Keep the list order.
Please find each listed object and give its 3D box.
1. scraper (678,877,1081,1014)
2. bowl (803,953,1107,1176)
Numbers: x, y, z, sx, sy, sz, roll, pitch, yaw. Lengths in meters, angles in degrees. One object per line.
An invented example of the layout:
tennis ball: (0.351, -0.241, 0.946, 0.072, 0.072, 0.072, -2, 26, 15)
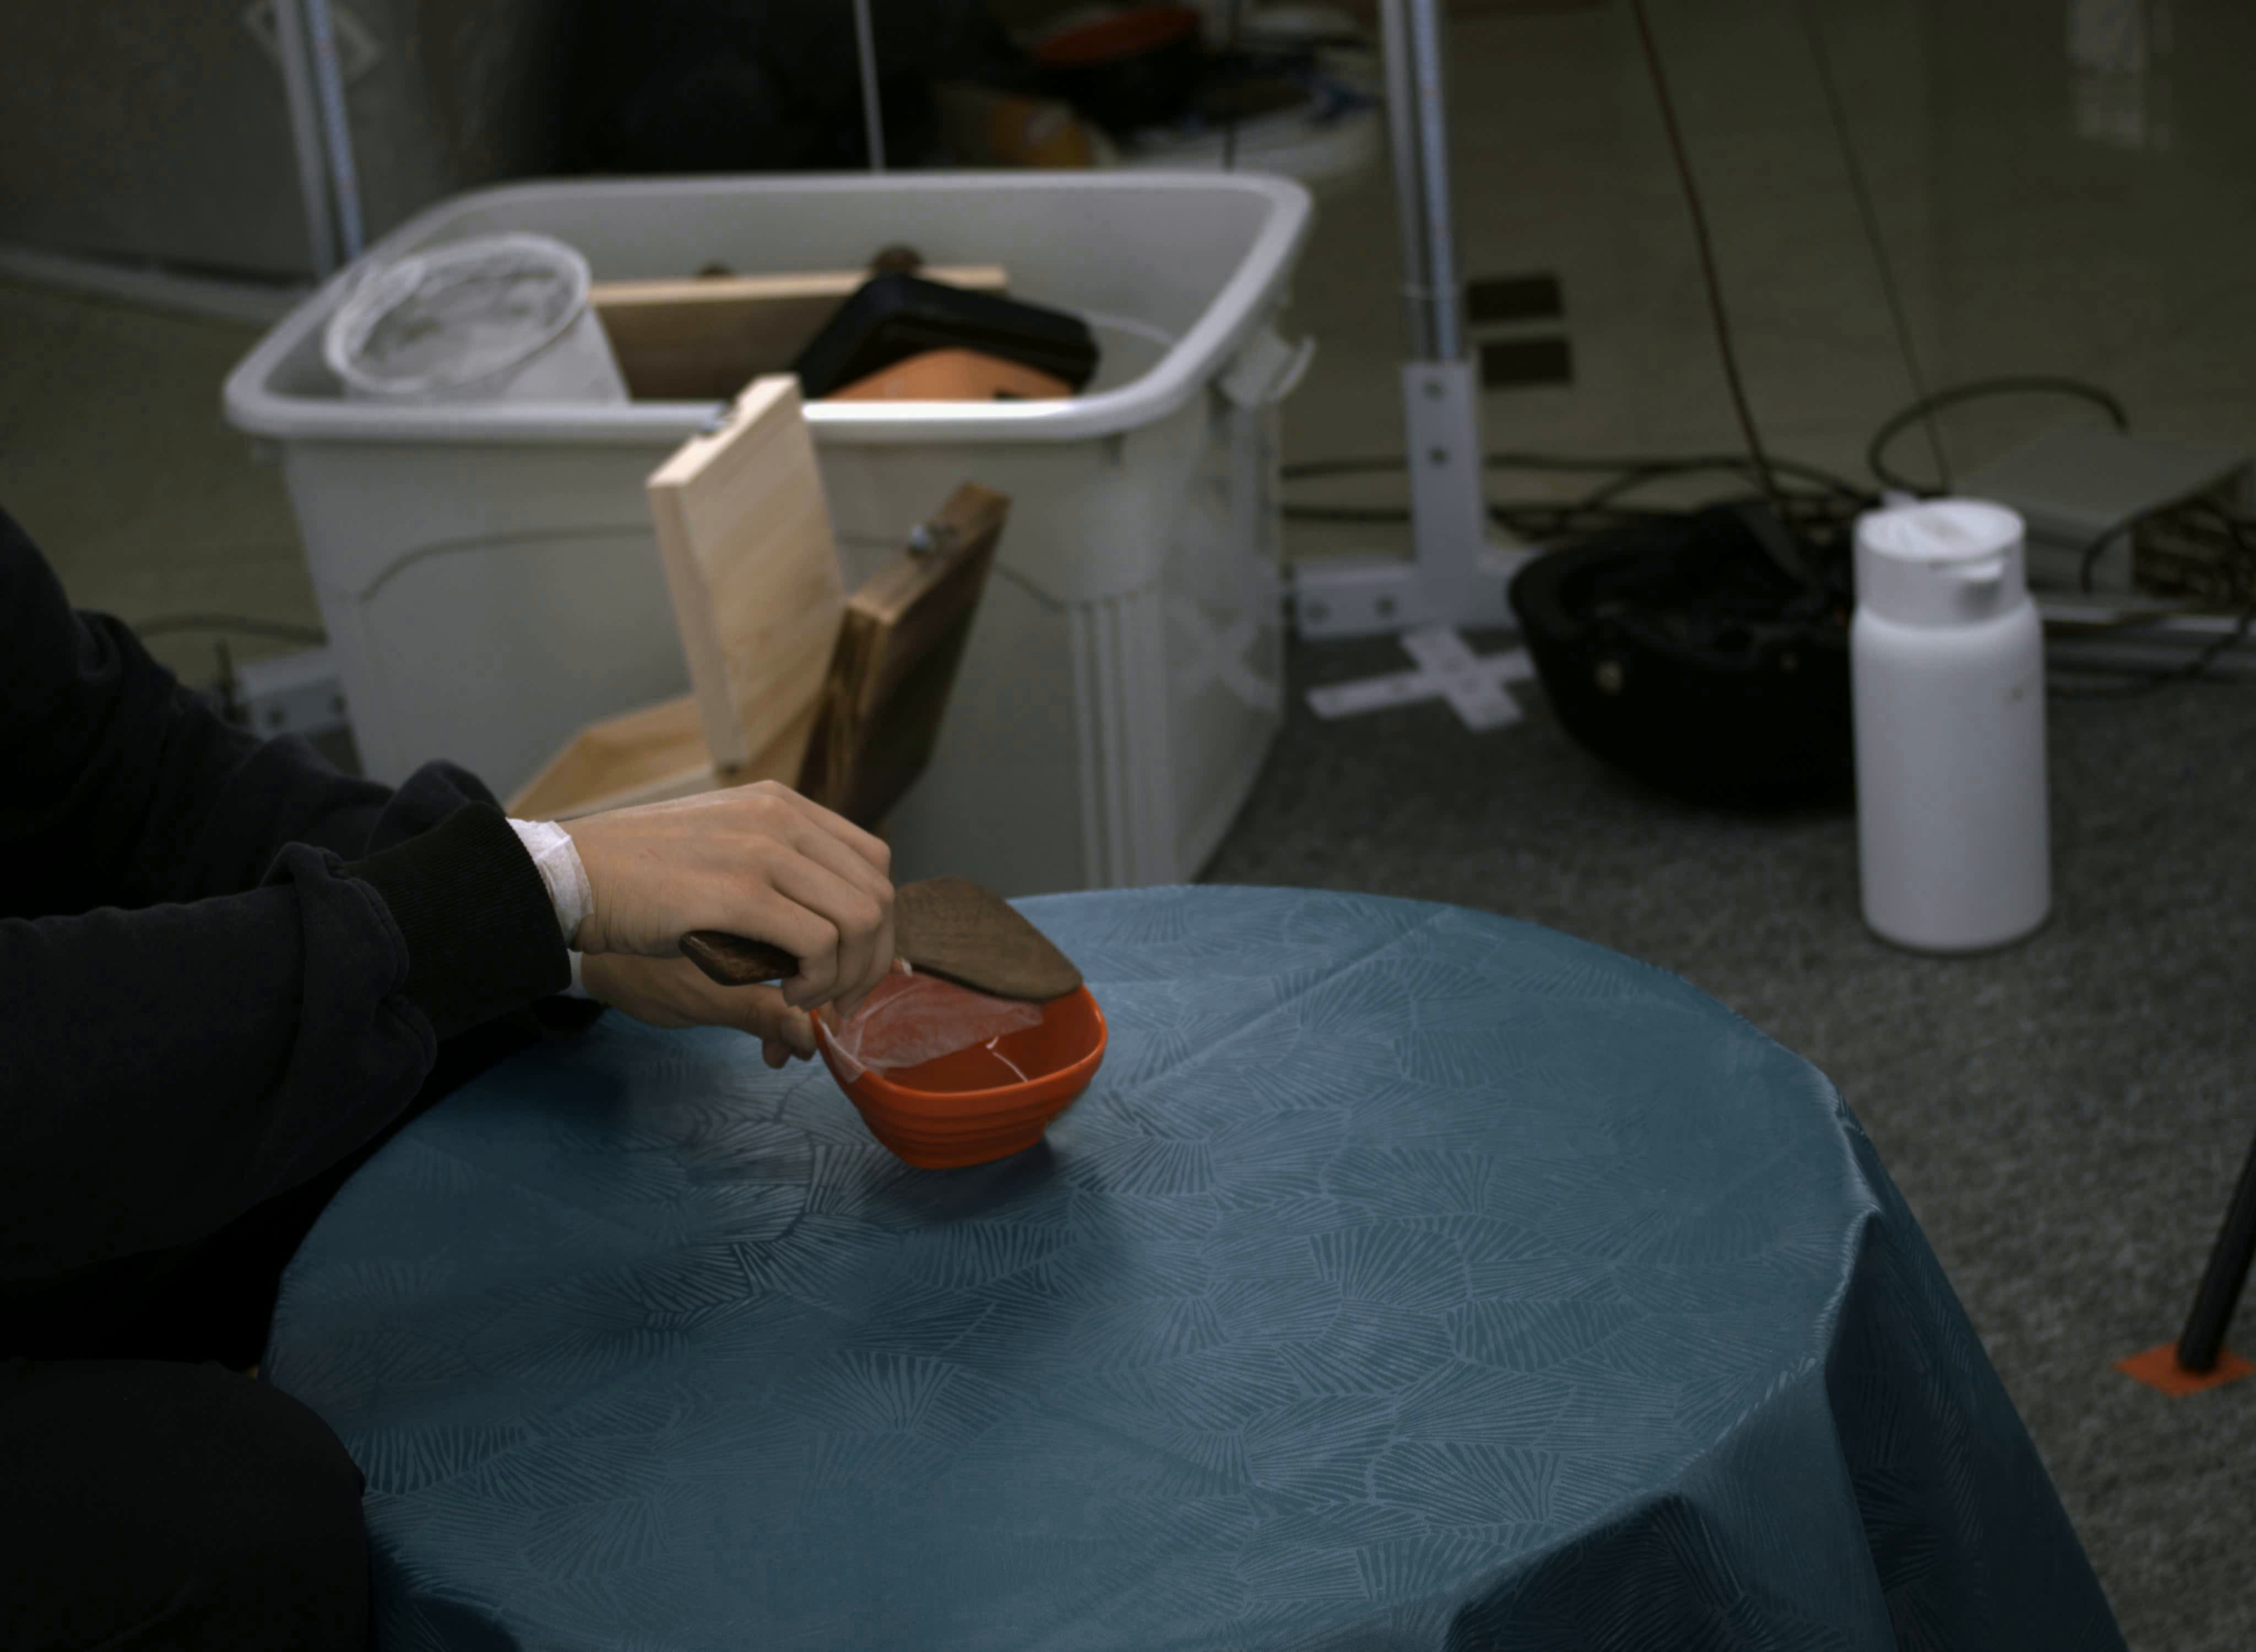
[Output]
scraper: (-0.097, 0.047, 2.124, 0.075, 0.011, 0.211, 46, 24, 25)
bowl: (-0.068, 0.094, 2.192, 0.119, 0.052, 0.117, 4, 34, -3)
